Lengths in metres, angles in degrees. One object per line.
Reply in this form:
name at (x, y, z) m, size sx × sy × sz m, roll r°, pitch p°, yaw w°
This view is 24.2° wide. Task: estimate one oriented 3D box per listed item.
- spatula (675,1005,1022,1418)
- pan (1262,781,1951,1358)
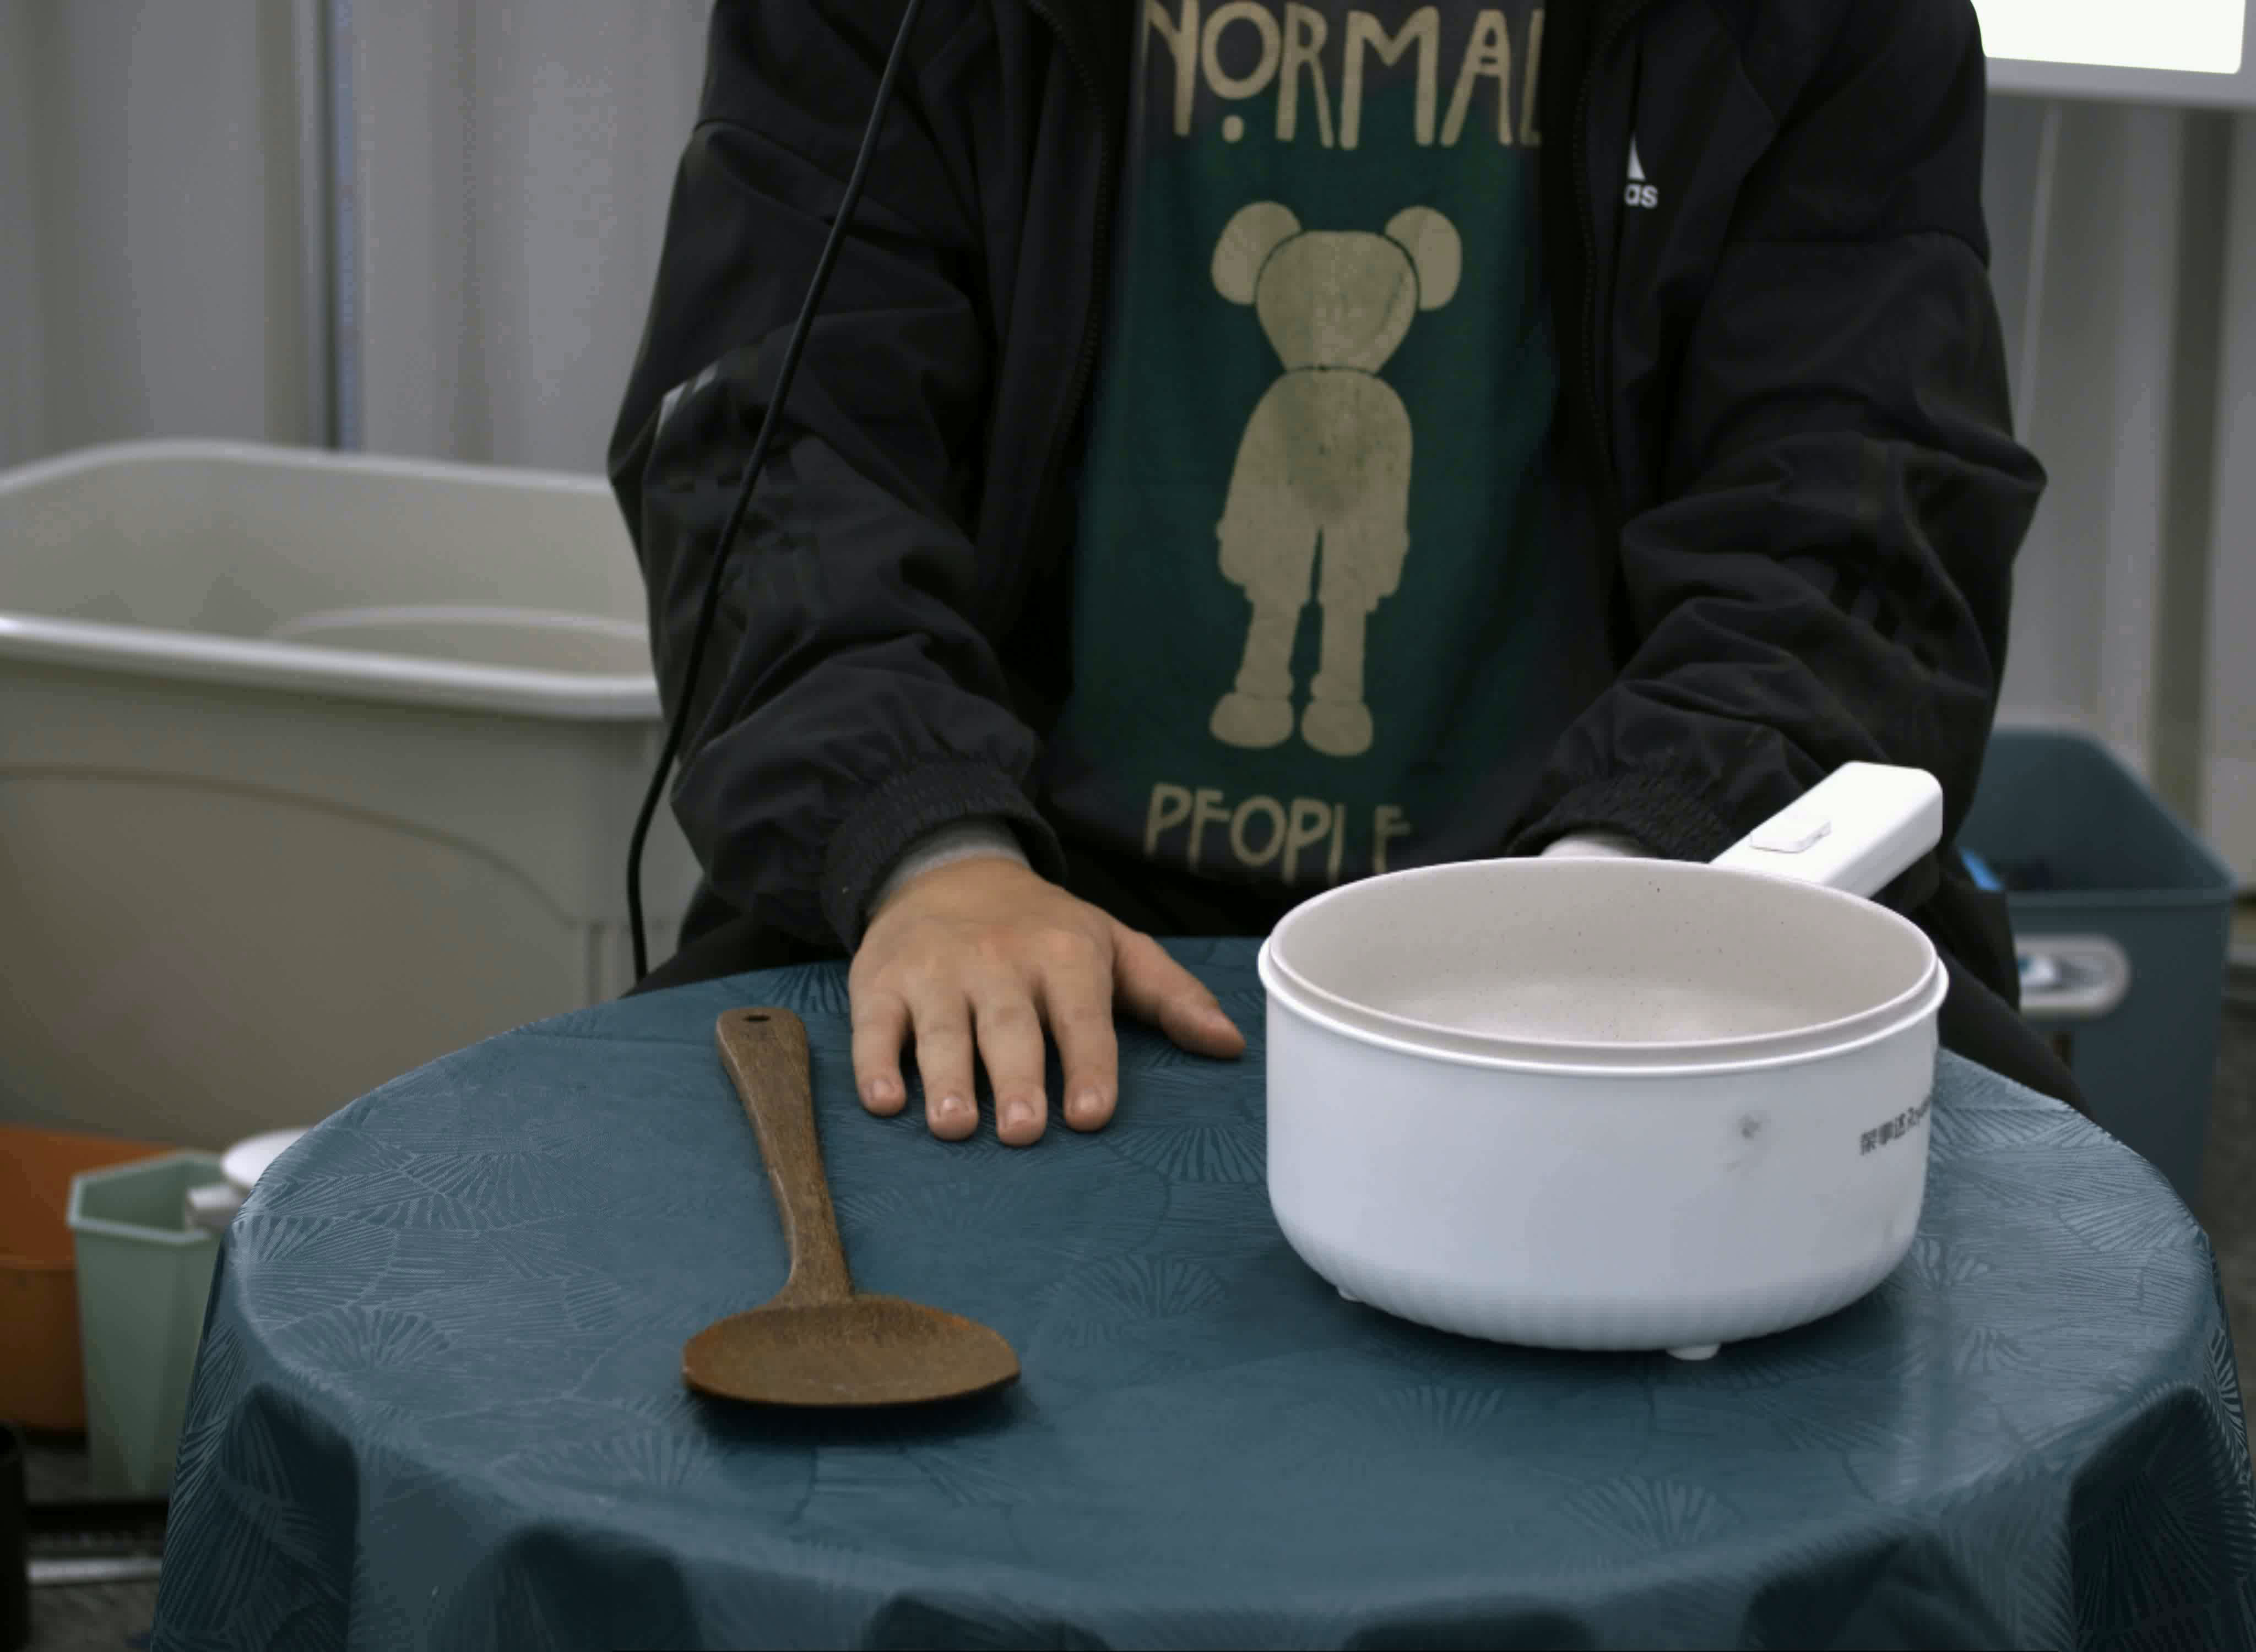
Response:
spatula at (-0.100, 0.110, 1.601) m, size 0.096 × 0.016 × 0.383 m, roll -1°, pitch 15°, yaw -8°
pan at (0.173, 0.068, 1.614) m, size 0.199 × 0.103 × 0.356 m, roll 7°, pitch 15°, yaw 26°
